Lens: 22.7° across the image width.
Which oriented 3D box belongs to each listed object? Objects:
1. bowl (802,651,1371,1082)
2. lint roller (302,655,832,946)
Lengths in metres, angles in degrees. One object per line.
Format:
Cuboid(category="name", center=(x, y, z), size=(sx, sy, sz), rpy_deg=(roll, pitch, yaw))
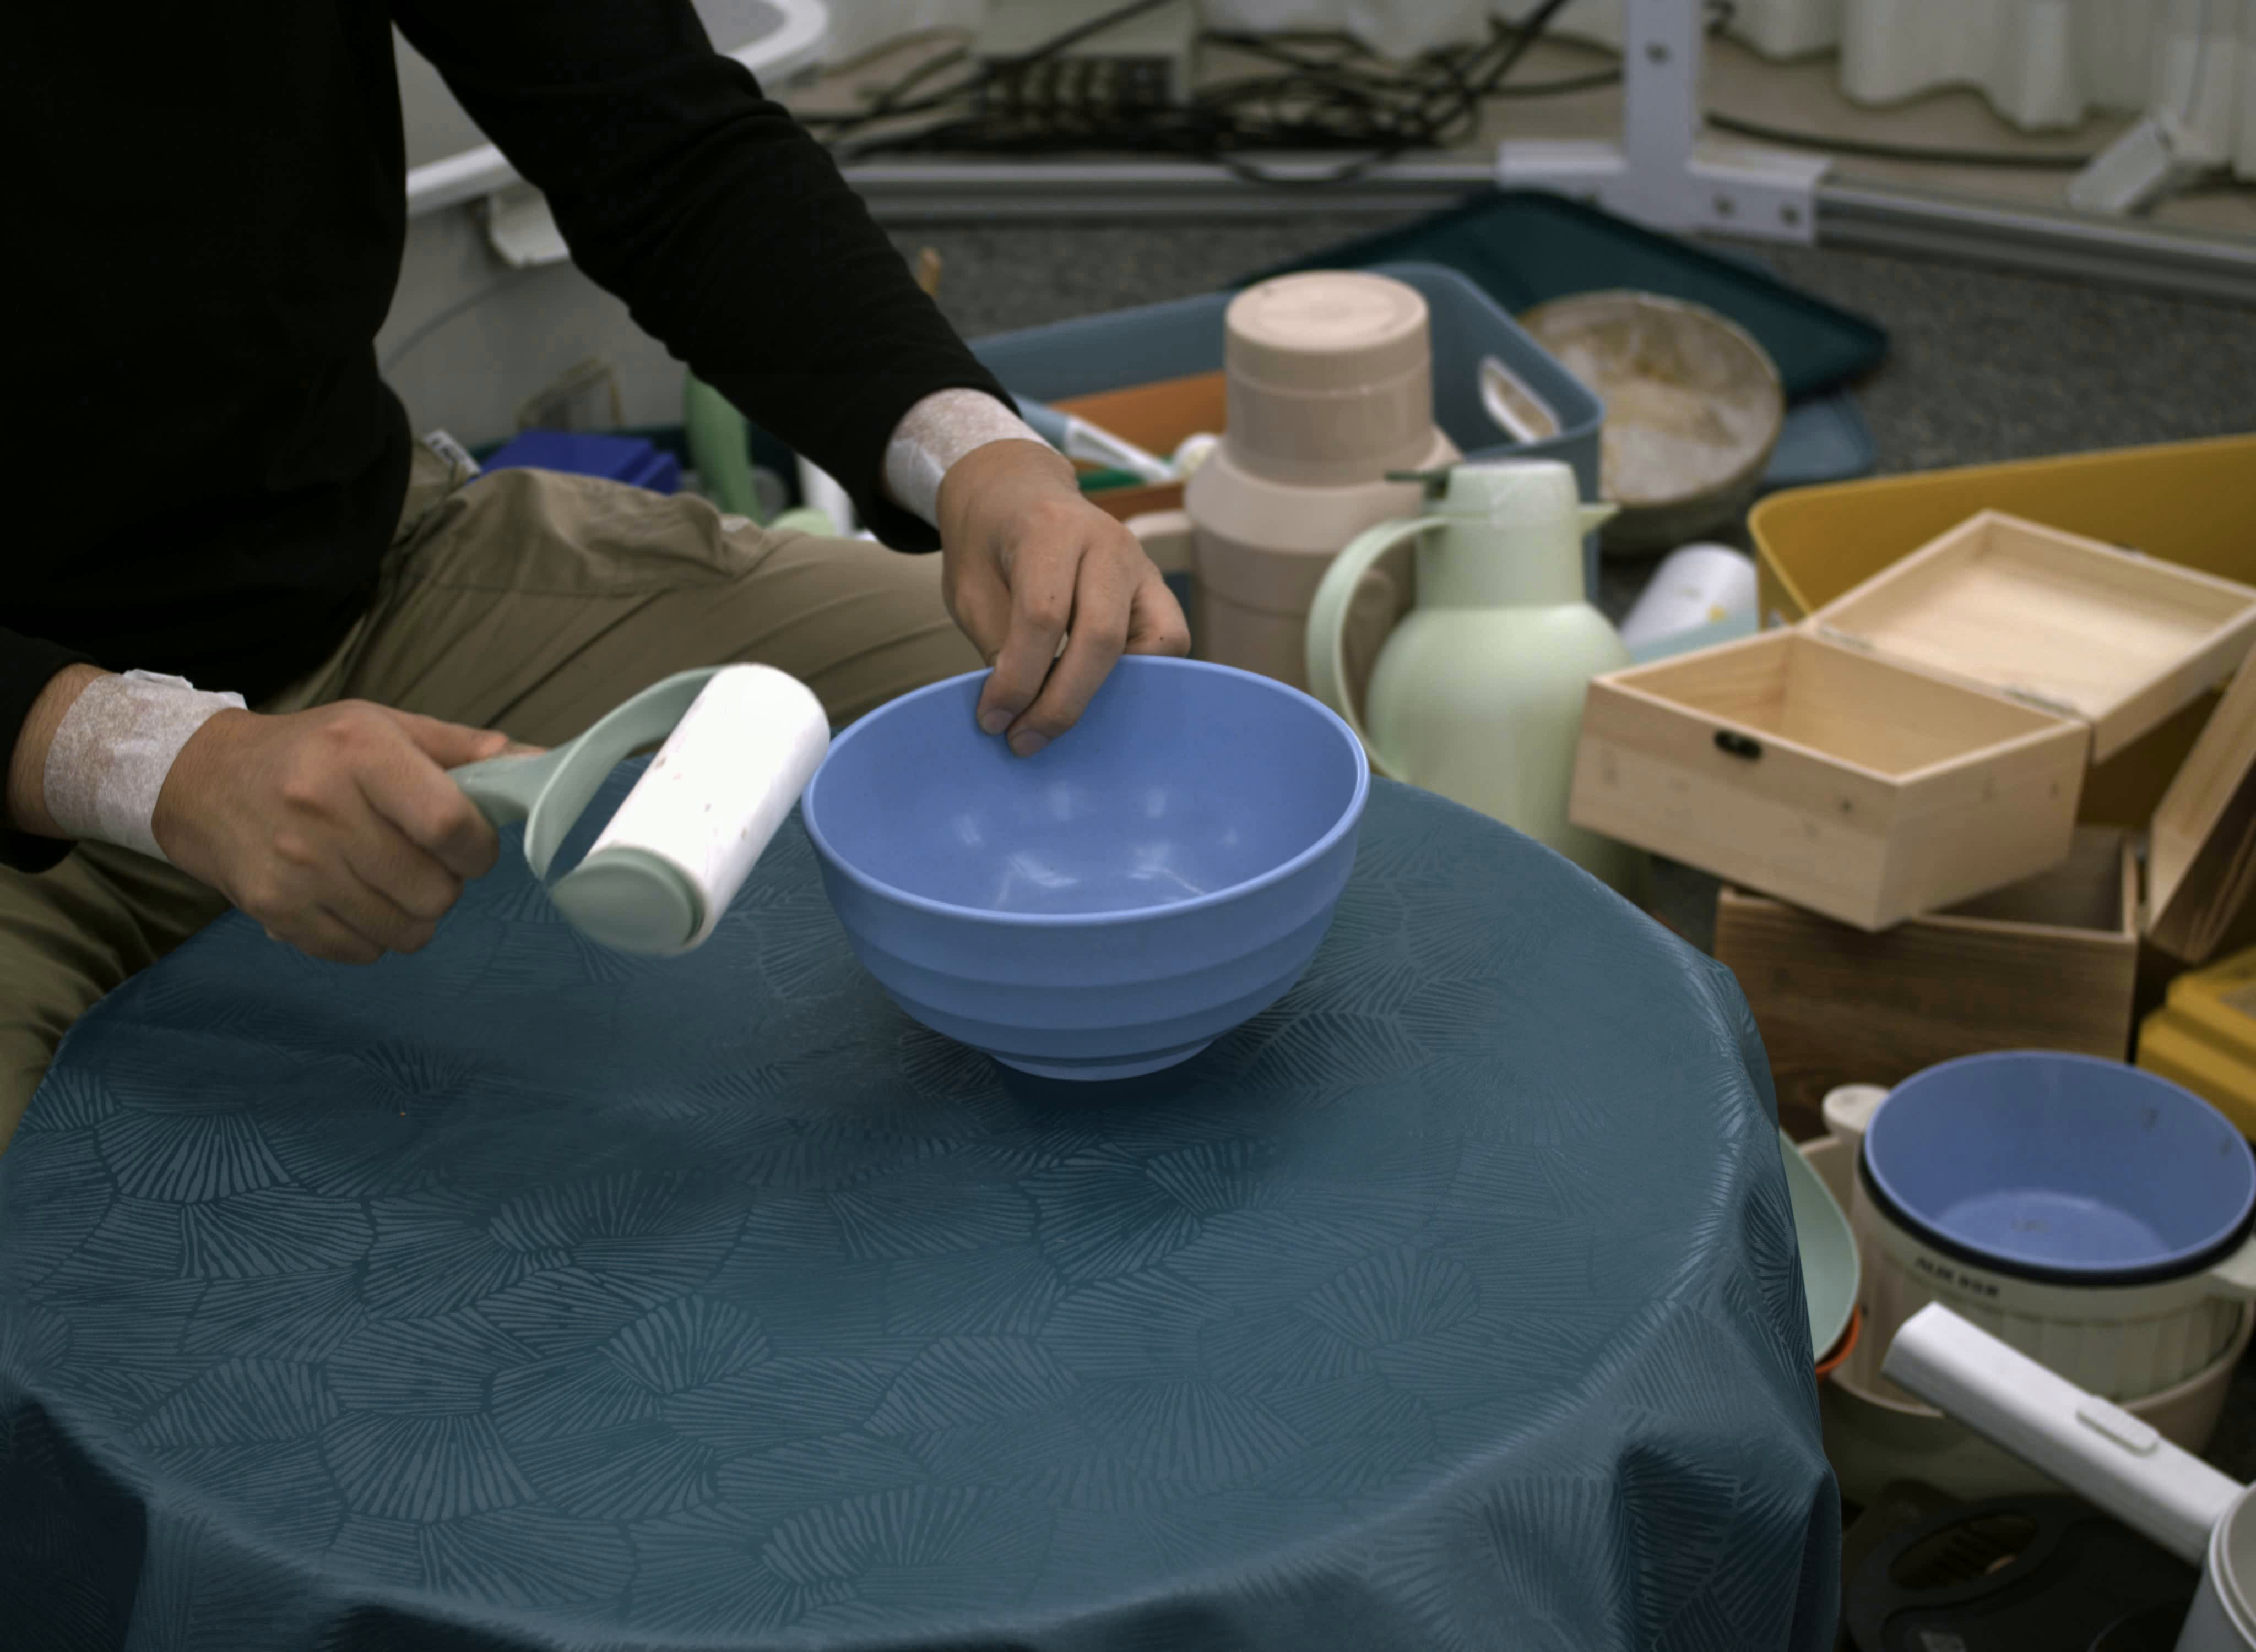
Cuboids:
Cuboid(category="bowl", center=(-0.012, 0.025, 1.946), size=(0.195, 0.094, 0.199), rpy_deg=(-3, 28, 2))
Cuboid(category="lint roller", center=(-0.200, -0.002, 1.881), size=(0.195, 0.048, 0.119), rpy_deg=(-5, 35, 29))
